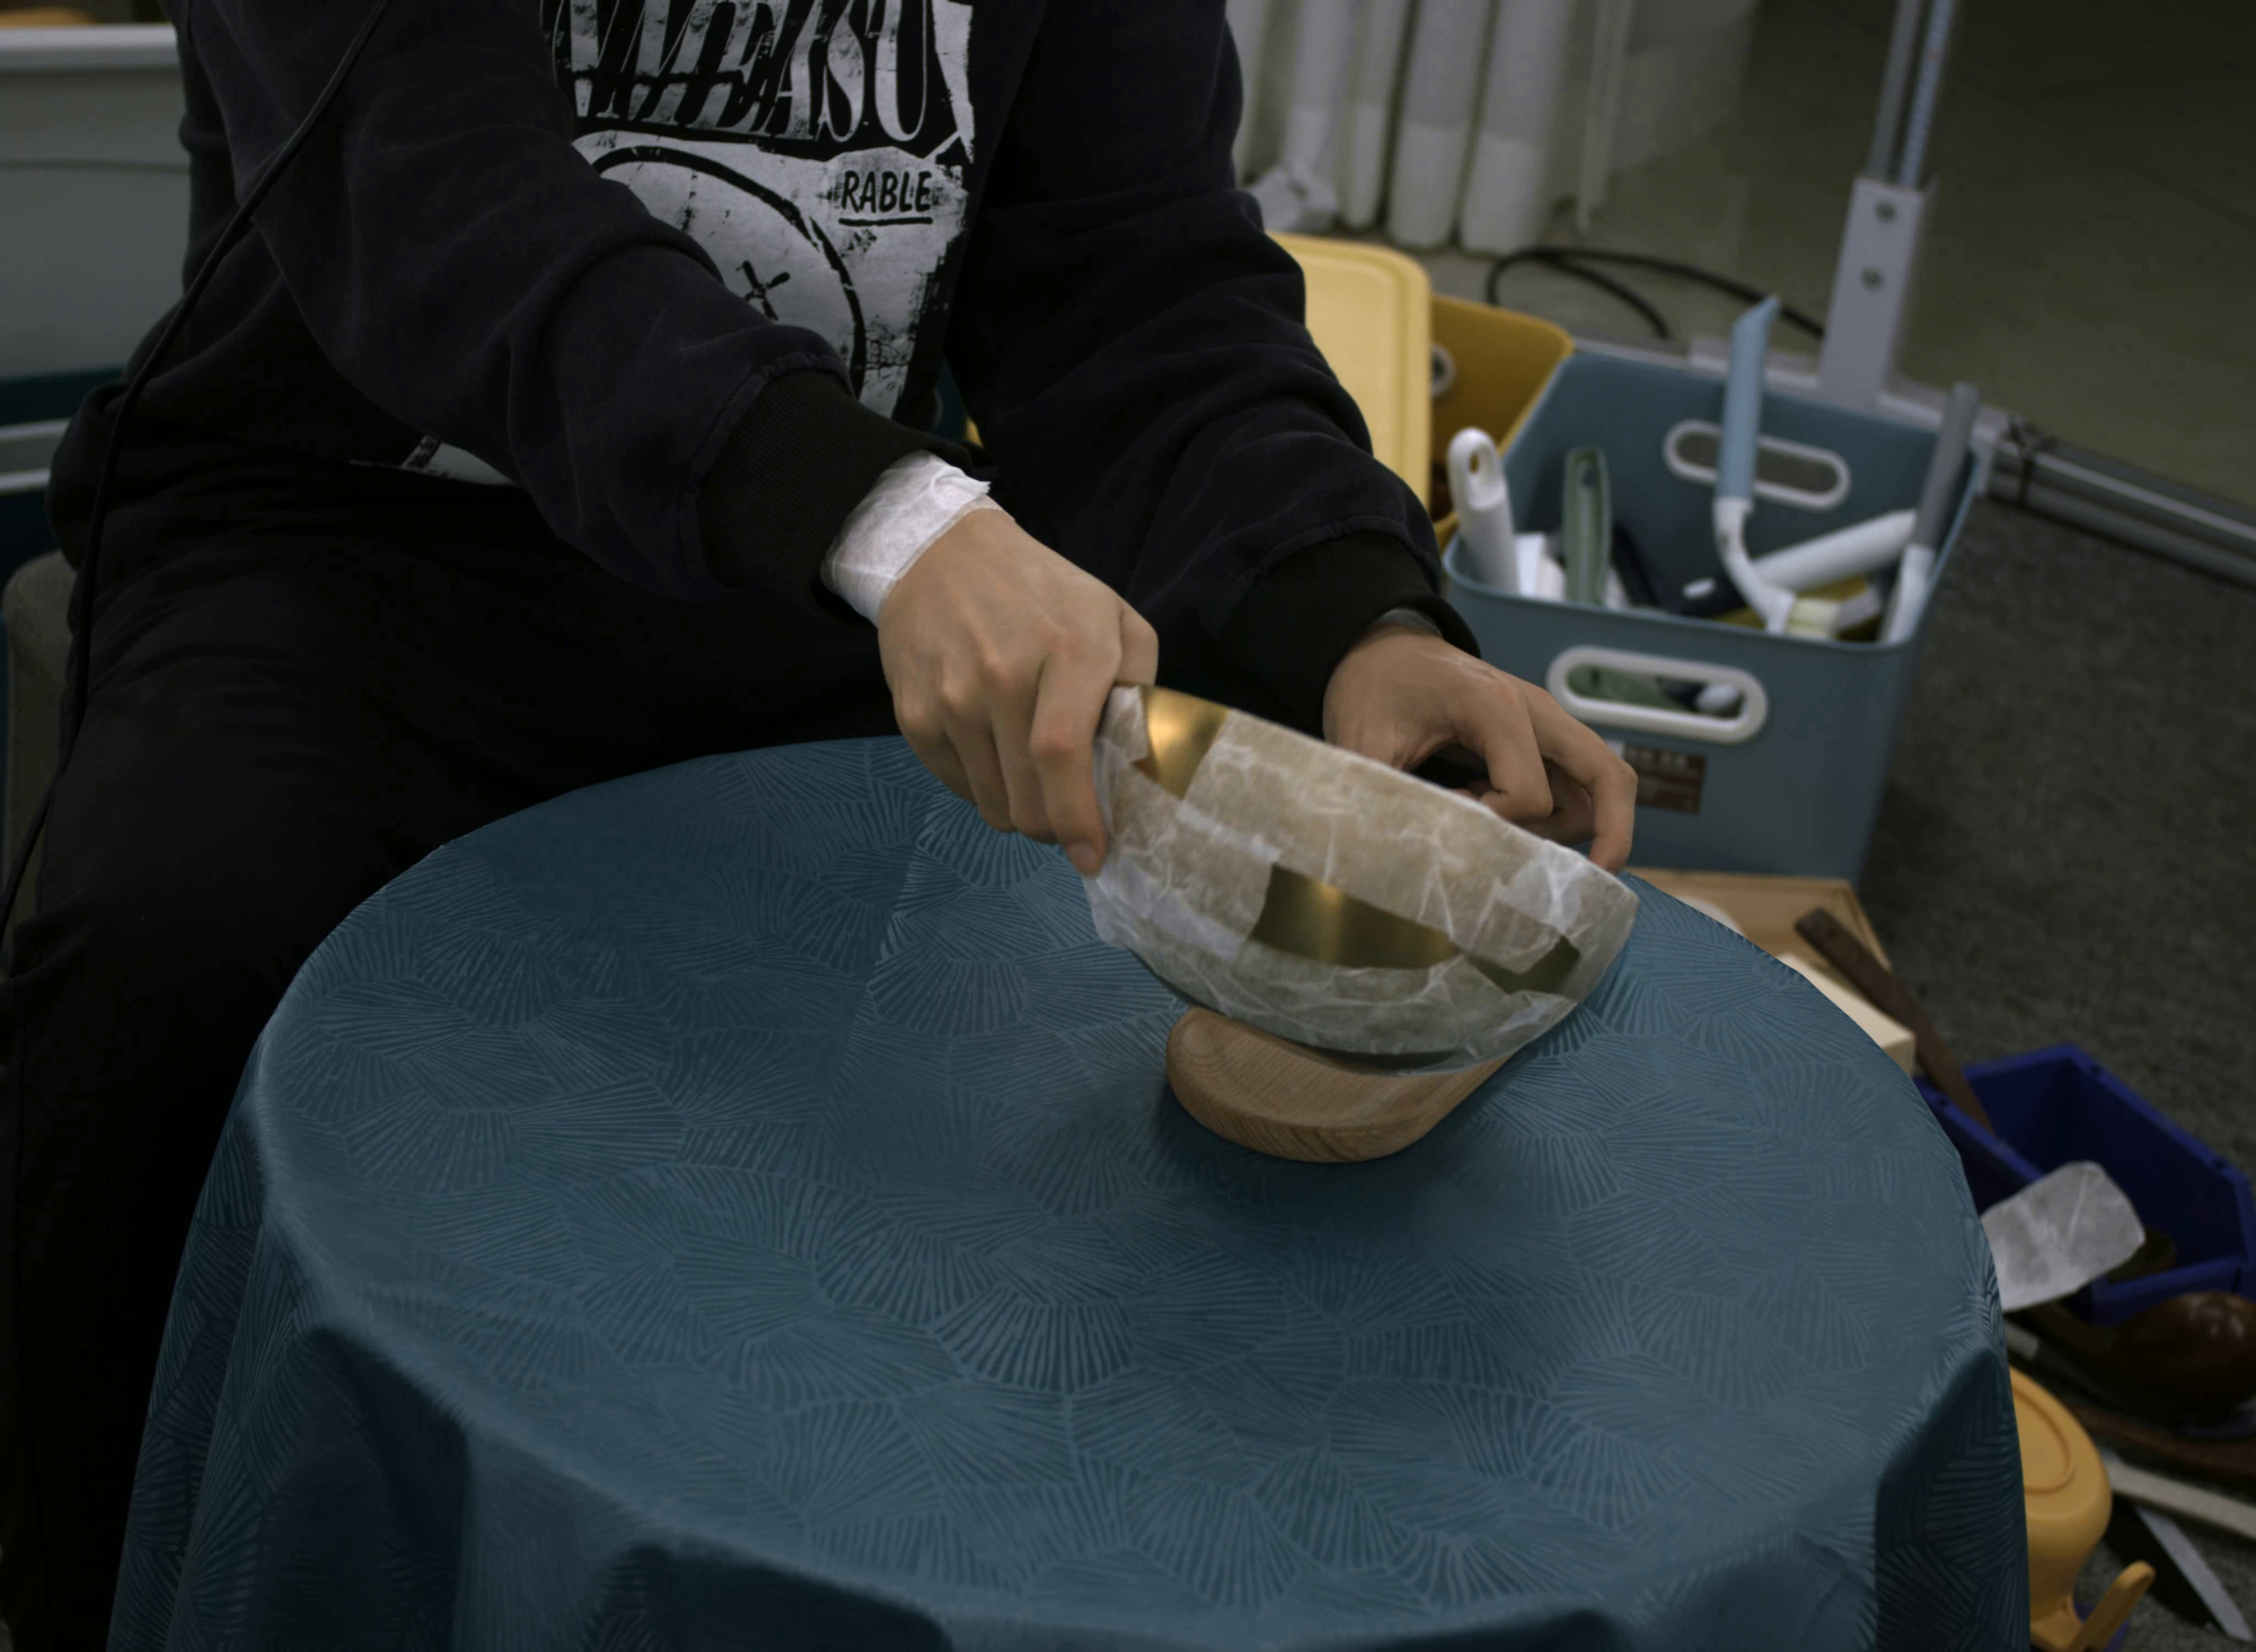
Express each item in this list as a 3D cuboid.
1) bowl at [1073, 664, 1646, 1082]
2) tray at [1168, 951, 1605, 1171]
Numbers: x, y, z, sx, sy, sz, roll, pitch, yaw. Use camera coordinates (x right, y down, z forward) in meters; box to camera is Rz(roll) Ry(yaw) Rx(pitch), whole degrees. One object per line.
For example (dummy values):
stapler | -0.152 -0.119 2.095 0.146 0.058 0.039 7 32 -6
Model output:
bowl | 0.065 0.030 1.796 0.214 0.095 0.214 22 -6 2
tray | 0.095 0.067 1.916 0.102 0.020 0.231 17 30 24
